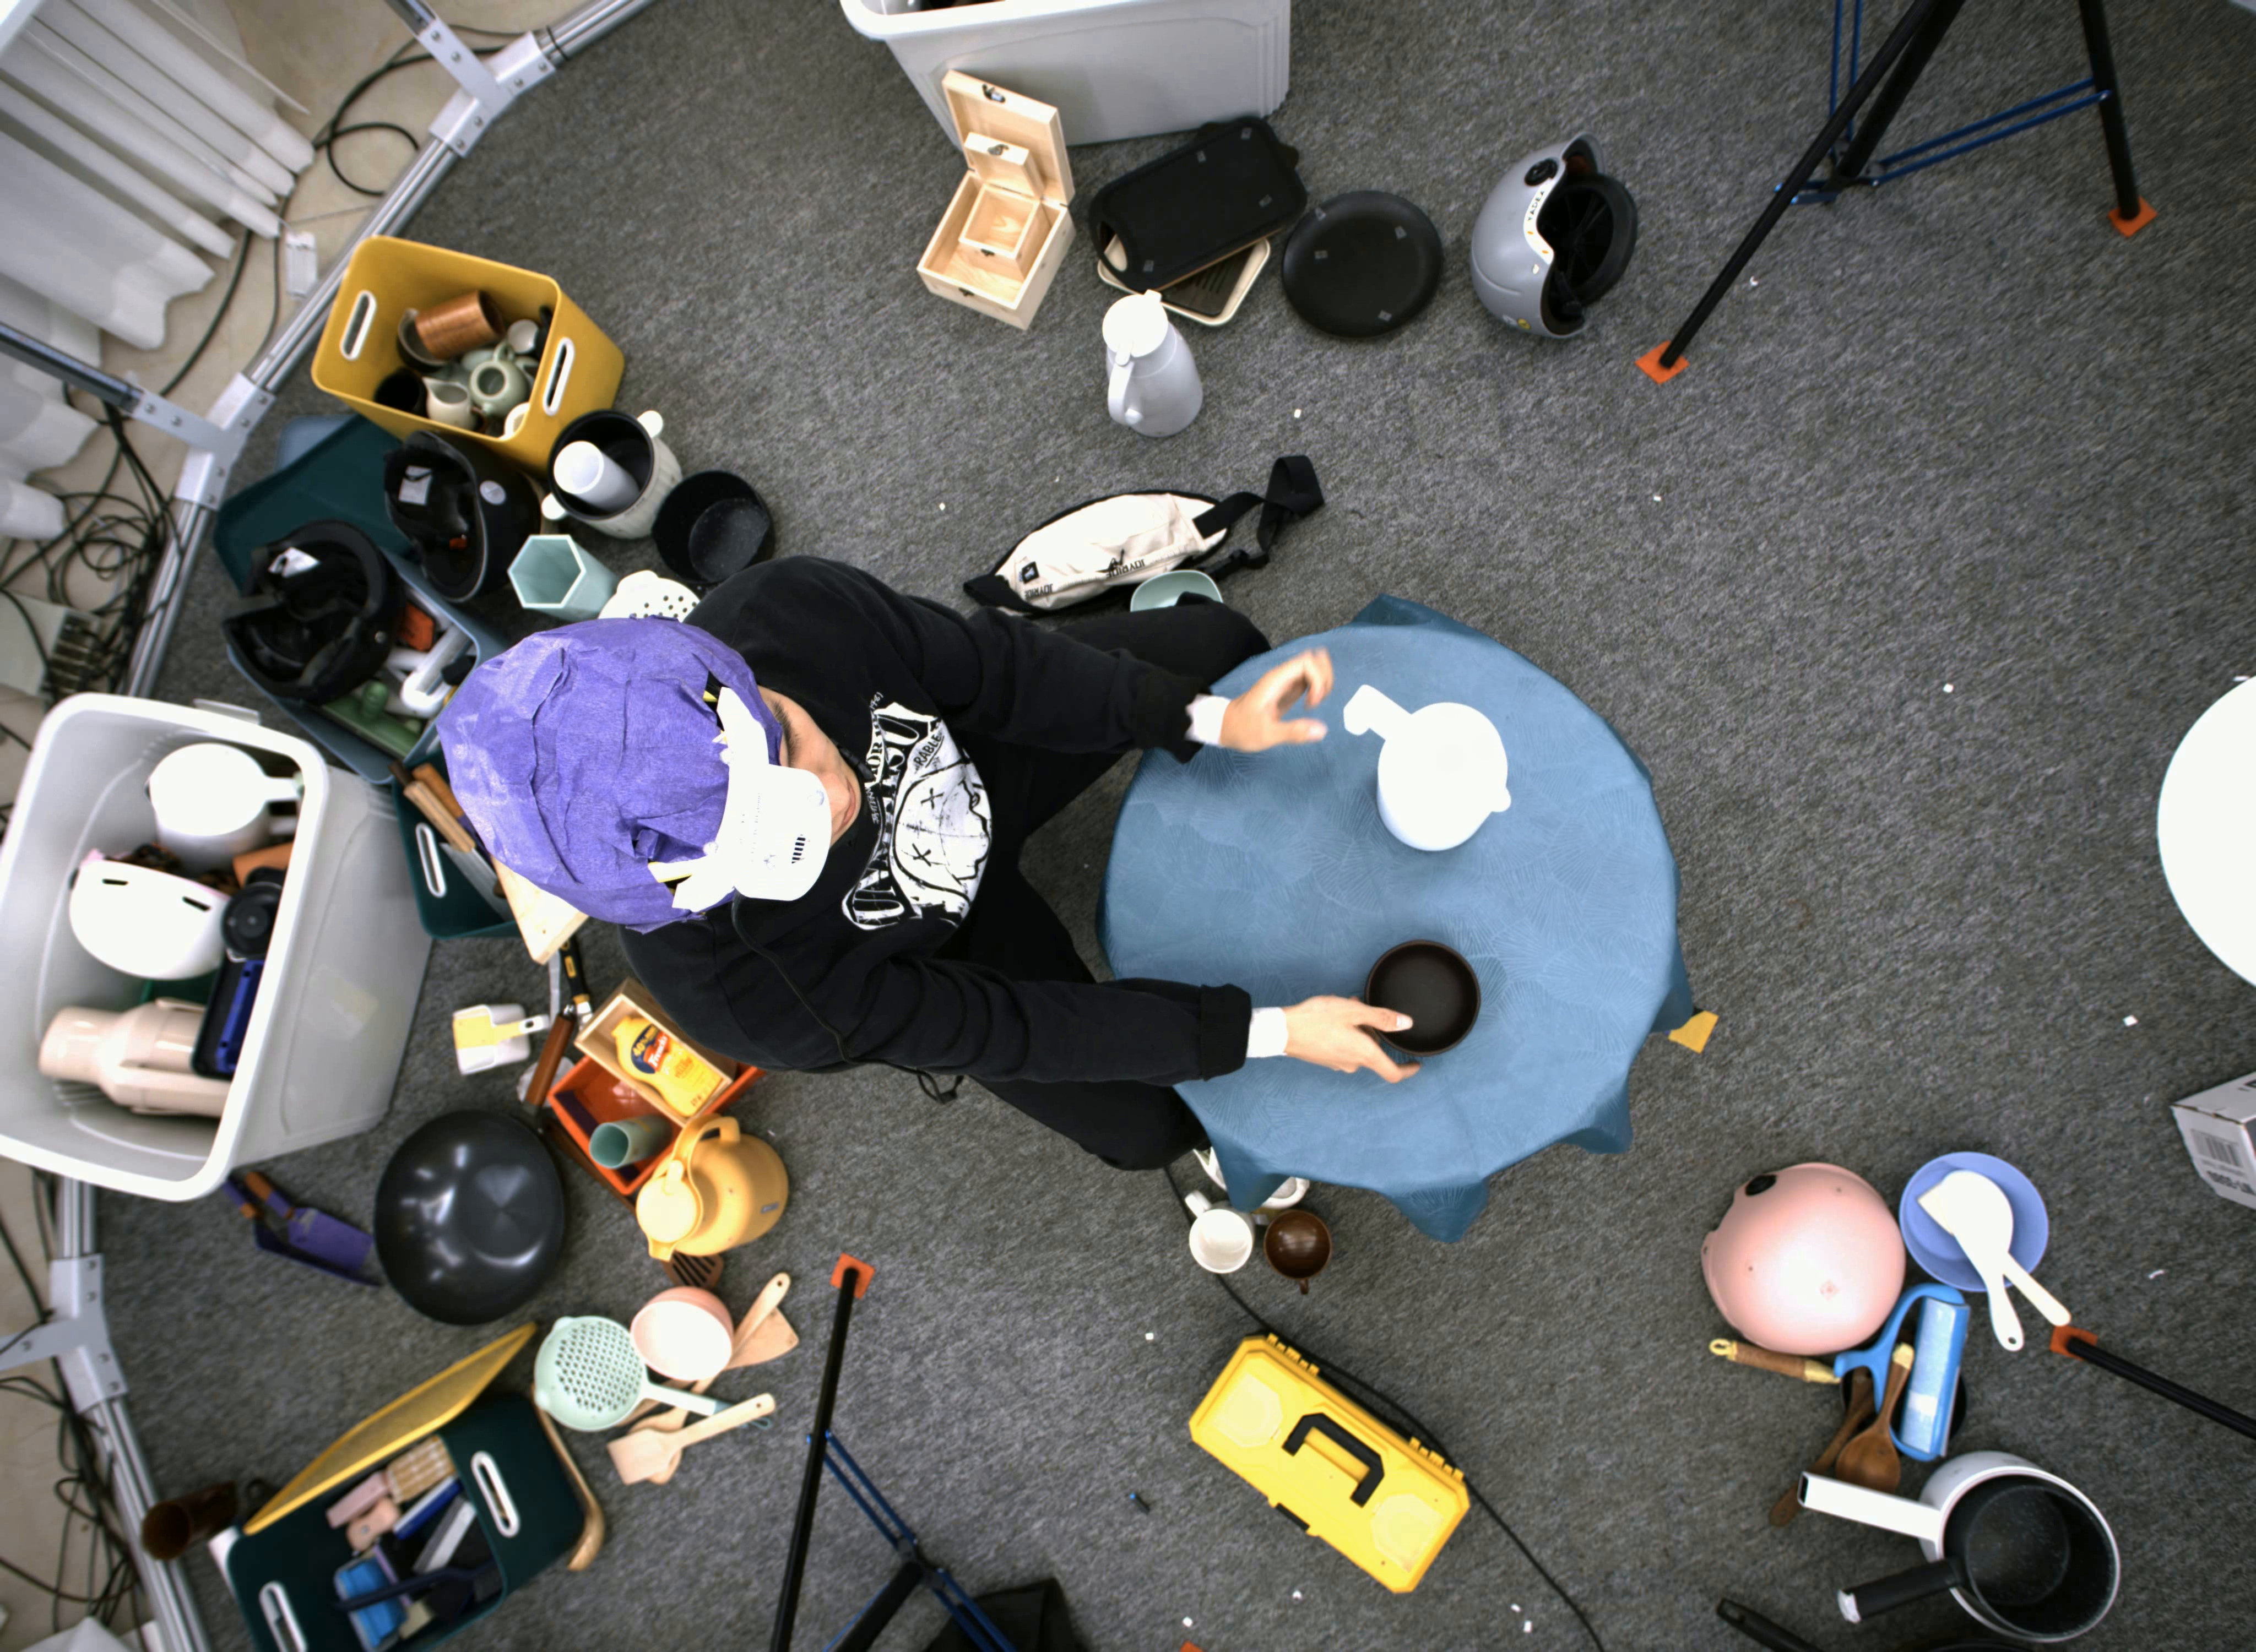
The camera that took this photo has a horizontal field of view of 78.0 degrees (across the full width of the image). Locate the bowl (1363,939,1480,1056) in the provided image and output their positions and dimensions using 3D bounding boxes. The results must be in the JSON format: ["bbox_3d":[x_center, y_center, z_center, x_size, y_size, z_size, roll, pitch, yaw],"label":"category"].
[{"bbox_3d":[0.300,0.173,1.413,0.118,0.070,0.117,-1,87,11],"label":"bowl"}]

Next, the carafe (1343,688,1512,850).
[{"bbox_3d":[0.284,-0.055,1.329,0.172,0.268,0.124,37,94,11],"label":"carafe"}]
